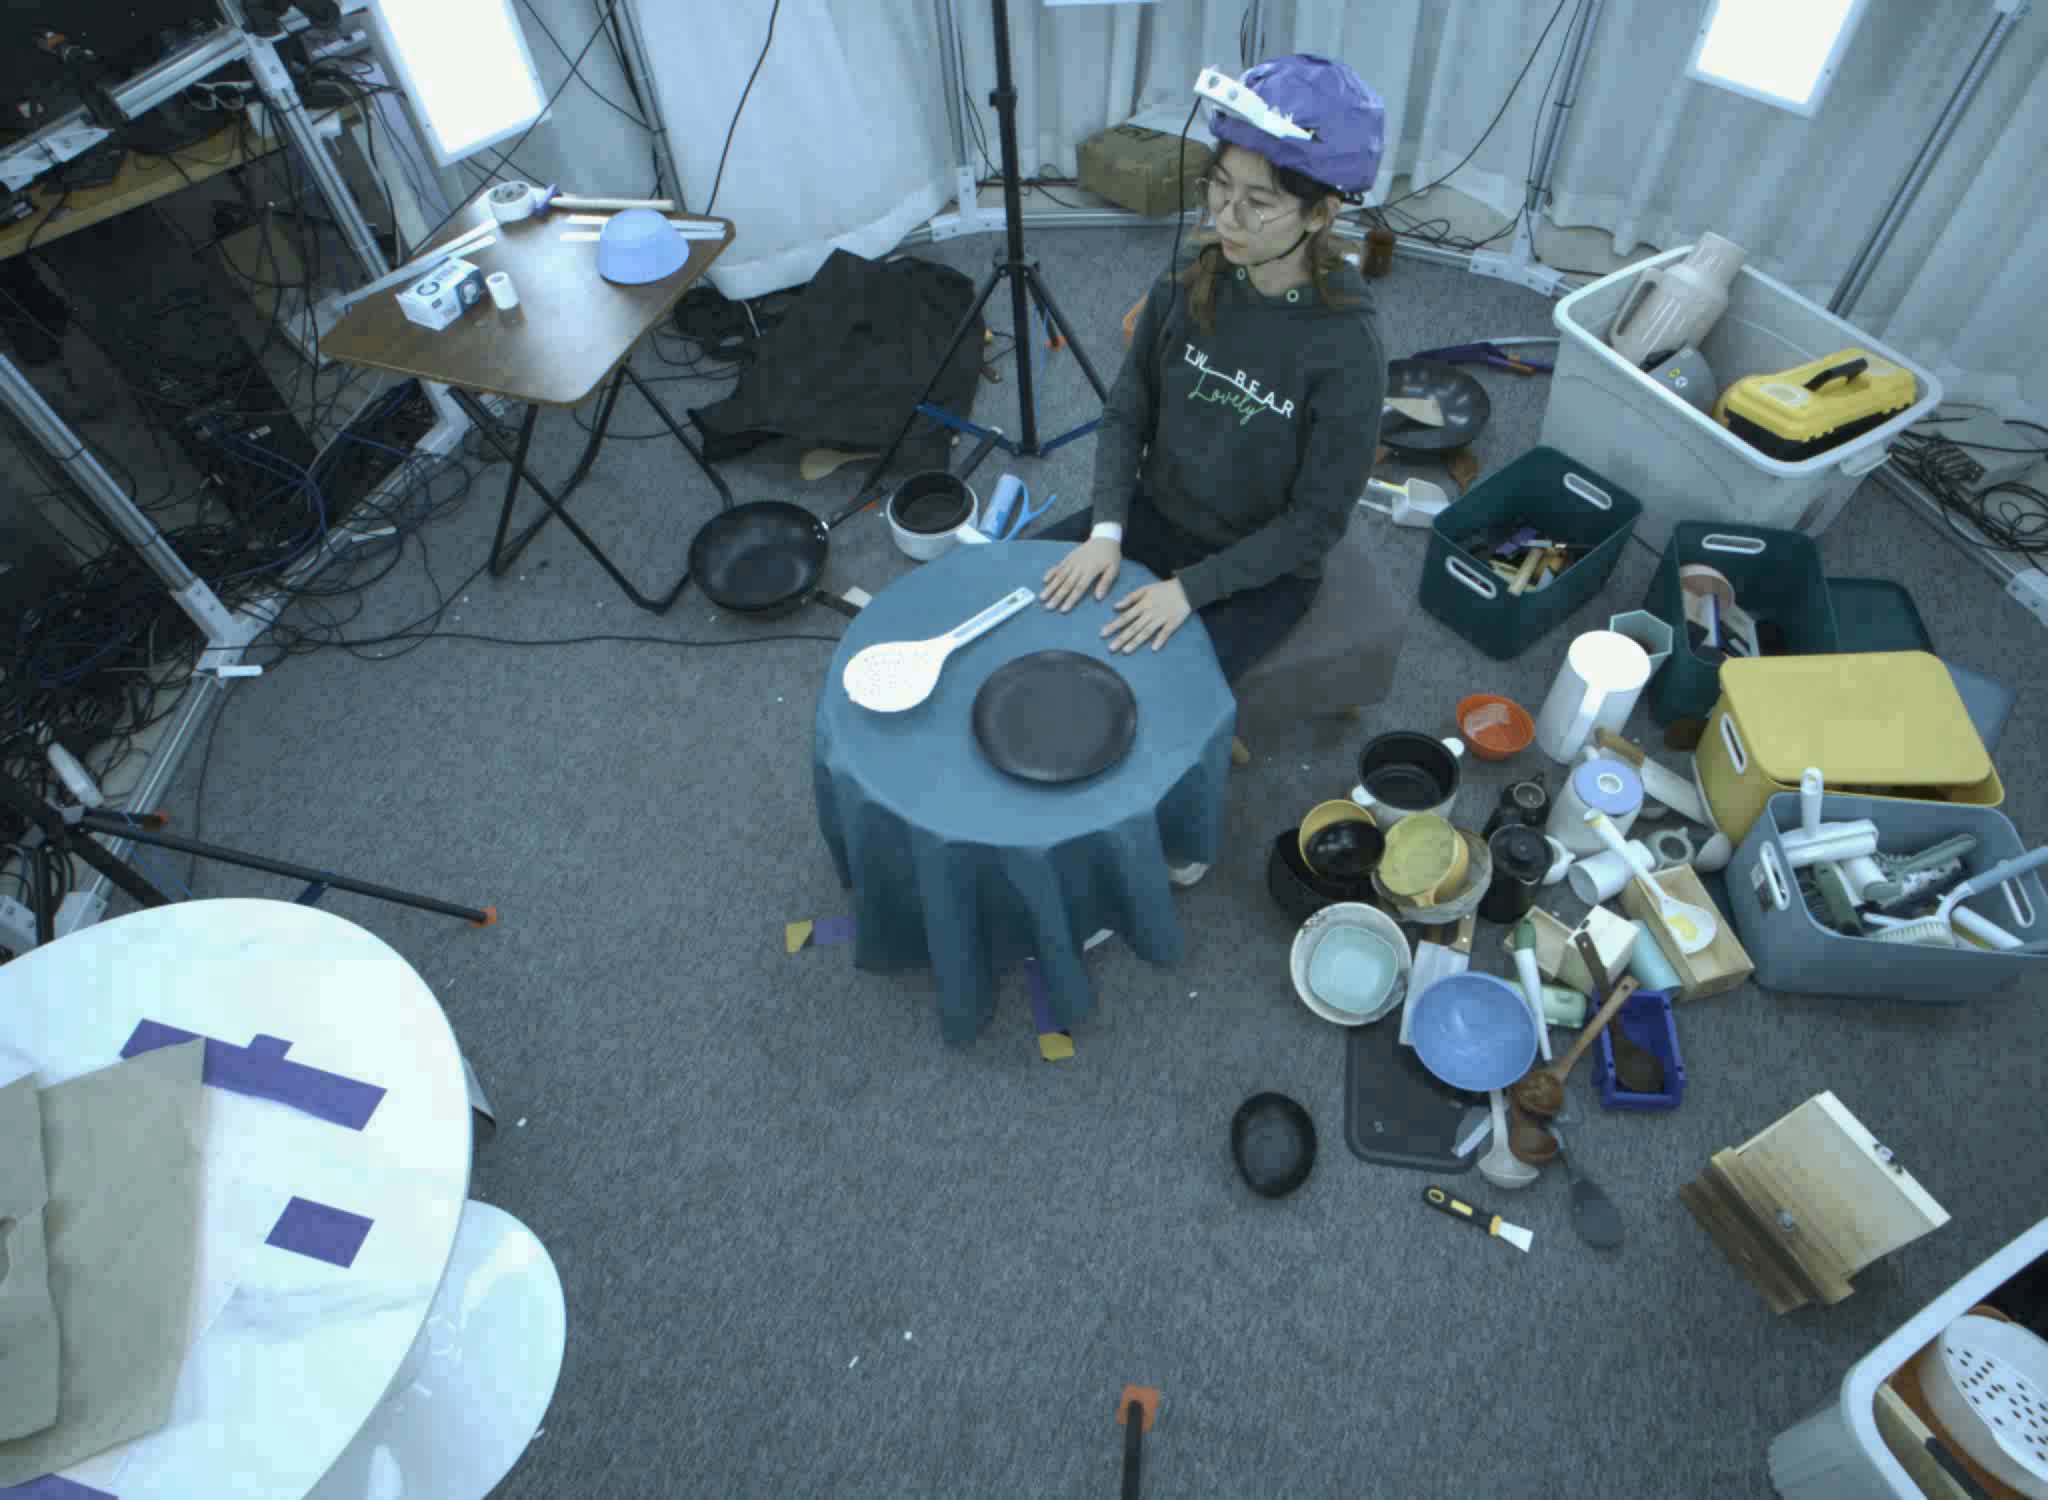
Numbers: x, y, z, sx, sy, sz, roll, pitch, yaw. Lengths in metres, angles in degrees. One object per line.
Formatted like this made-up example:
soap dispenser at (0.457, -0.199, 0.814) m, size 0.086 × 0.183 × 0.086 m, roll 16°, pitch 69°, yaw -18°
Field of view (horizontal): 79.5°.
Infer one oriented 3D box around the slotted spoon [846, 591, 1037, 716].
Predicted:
slotted spoon at (-0.118, -0.156, 1.883) m, size 0.352 × 0.046 × 0.134 m, roll -37°, pitch 64°, yaw -23°

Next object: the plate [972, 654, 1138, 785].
plate at (0.046, -0.043, 1.813) m, size 0.244 × 0.023 × 0.242 m, roll 0°, pitch 55°, yaw 2°
